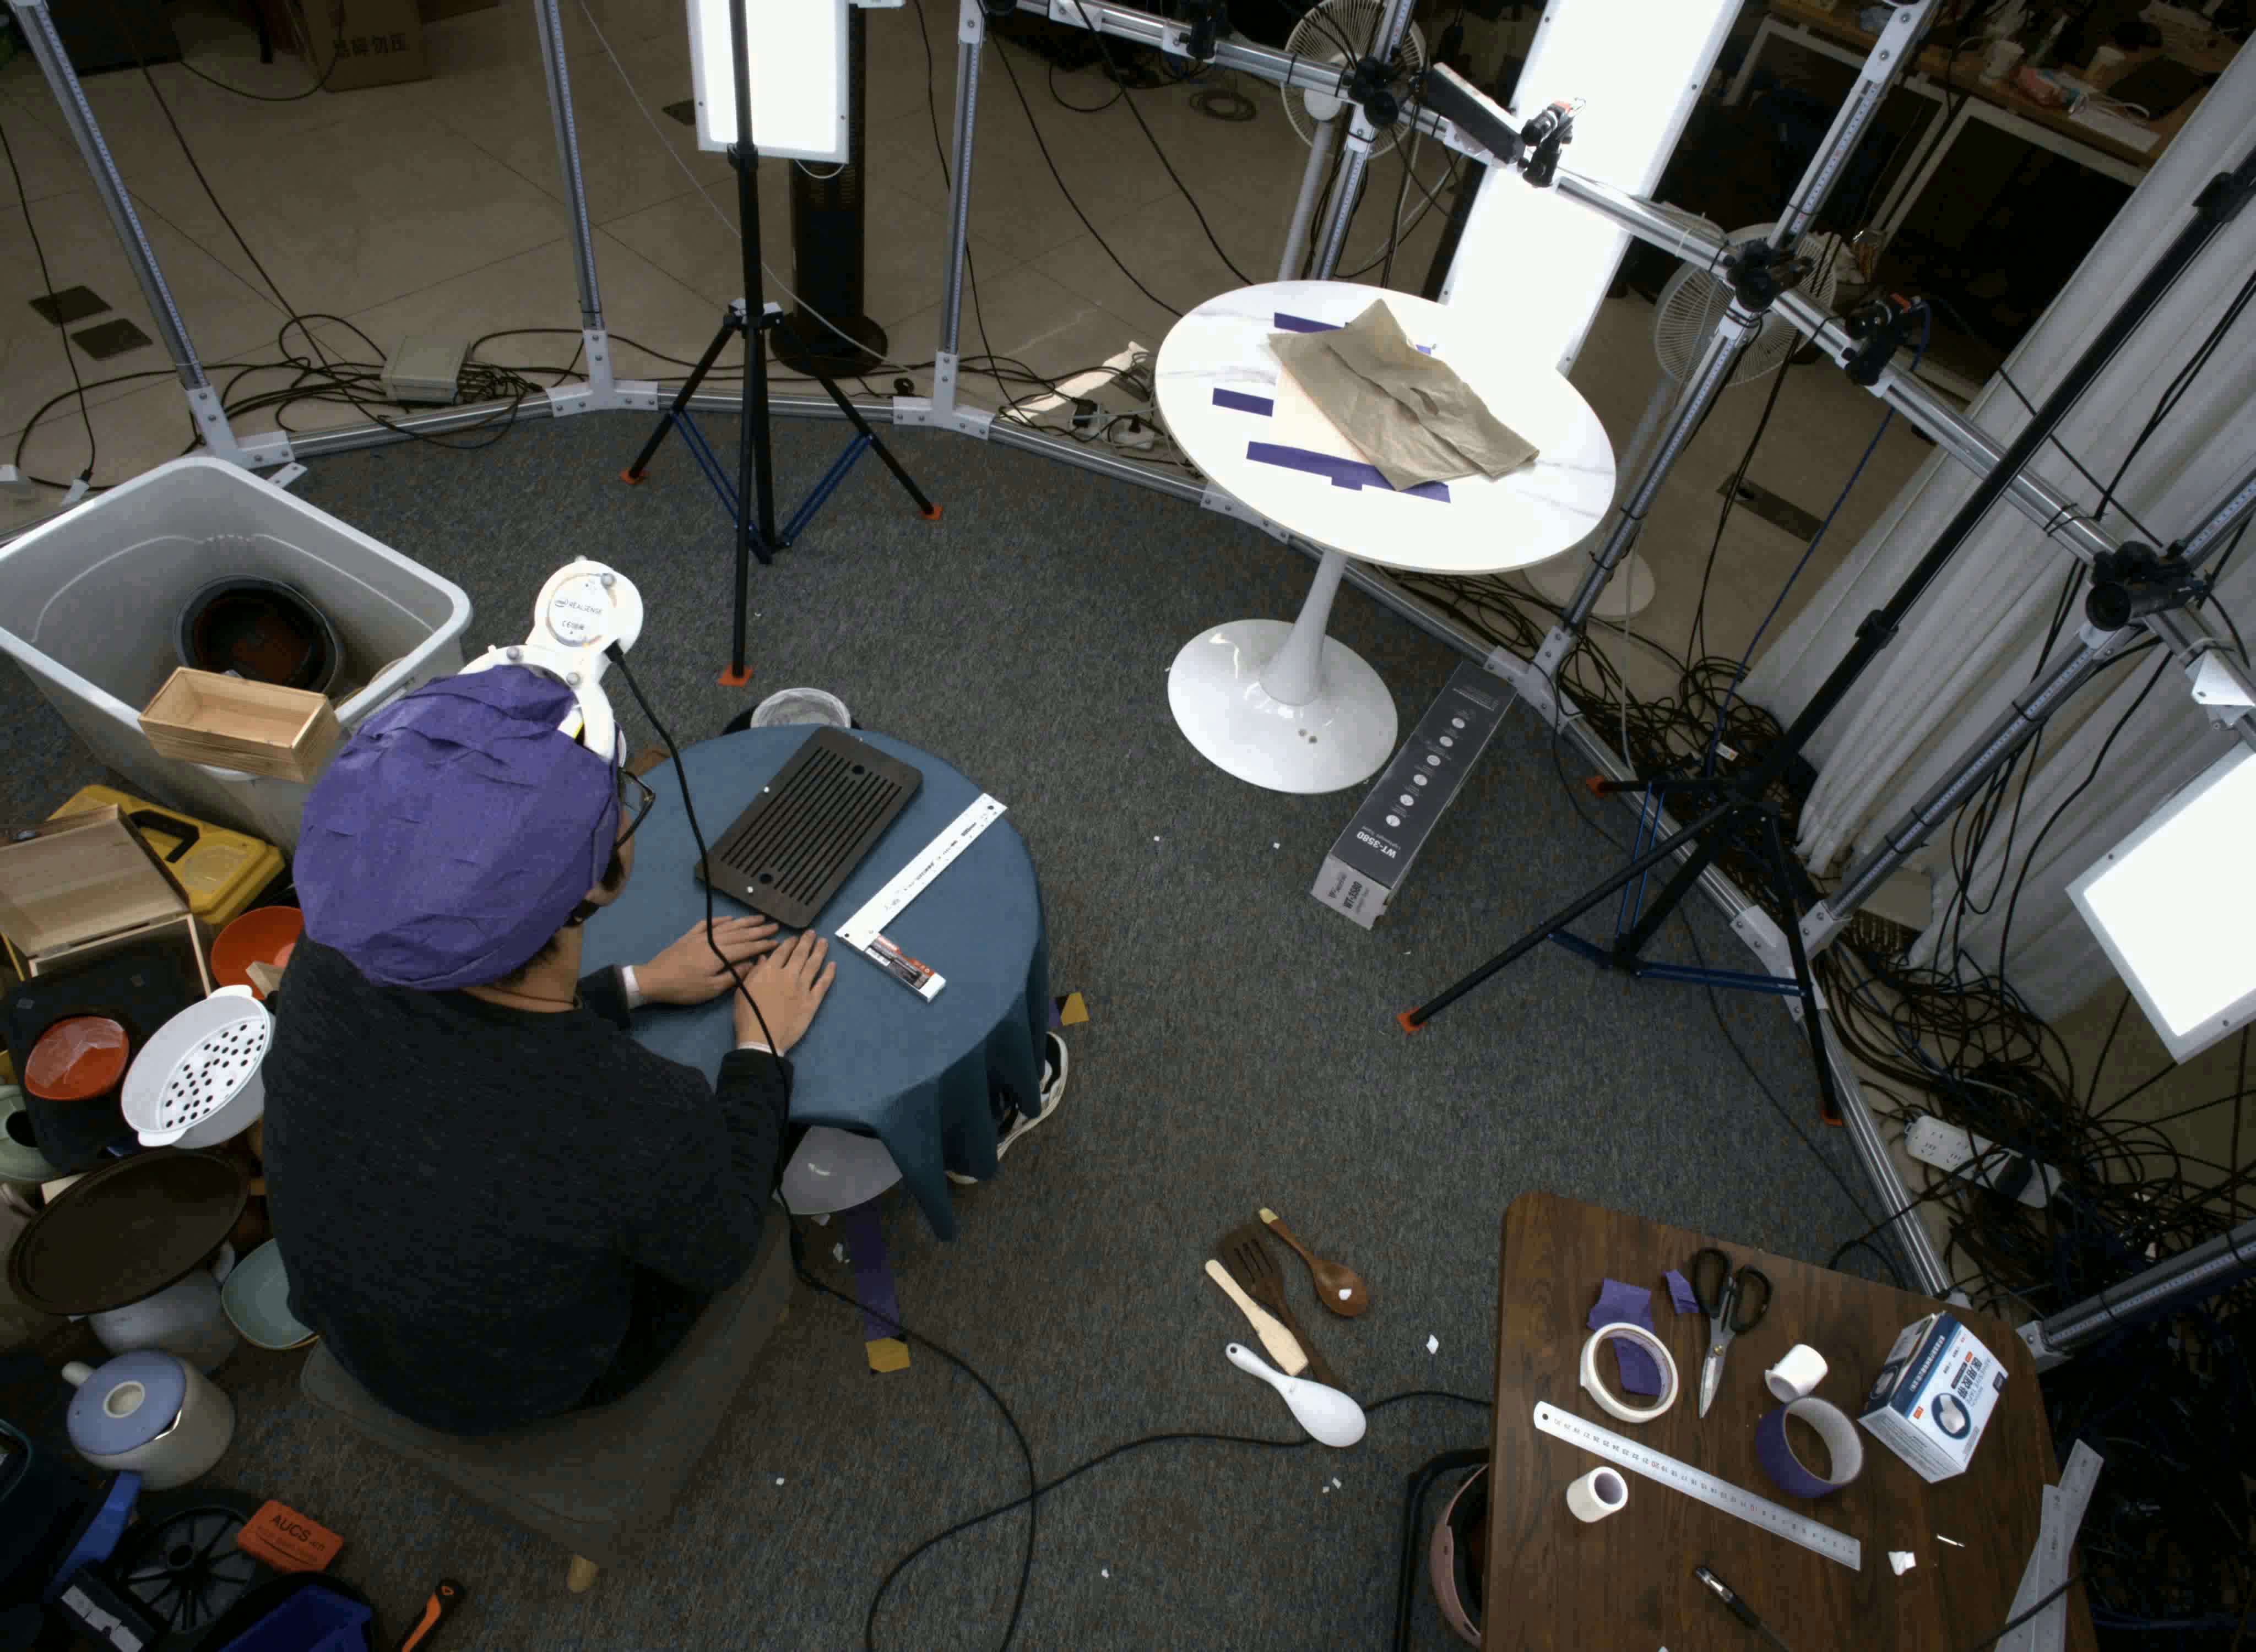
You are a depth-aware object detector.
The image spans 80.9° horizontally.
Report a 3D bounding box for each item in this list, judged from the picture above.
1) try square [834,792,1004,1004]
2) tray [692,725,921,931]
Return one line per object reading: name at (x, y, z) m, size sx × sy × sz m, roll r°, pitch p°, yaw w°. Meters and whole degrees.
try square at (-0.226, 0.084, 1.704) m, size 0.150 × 0.016 × 0.312 m, roll 34°, pitch 52°, yaw 10°
tray at (-0.419, -0.004, 1.711) m, size 0.168 × 0.019 × 0.304 m, roll 27°, pitch 52°, yaw 6°
